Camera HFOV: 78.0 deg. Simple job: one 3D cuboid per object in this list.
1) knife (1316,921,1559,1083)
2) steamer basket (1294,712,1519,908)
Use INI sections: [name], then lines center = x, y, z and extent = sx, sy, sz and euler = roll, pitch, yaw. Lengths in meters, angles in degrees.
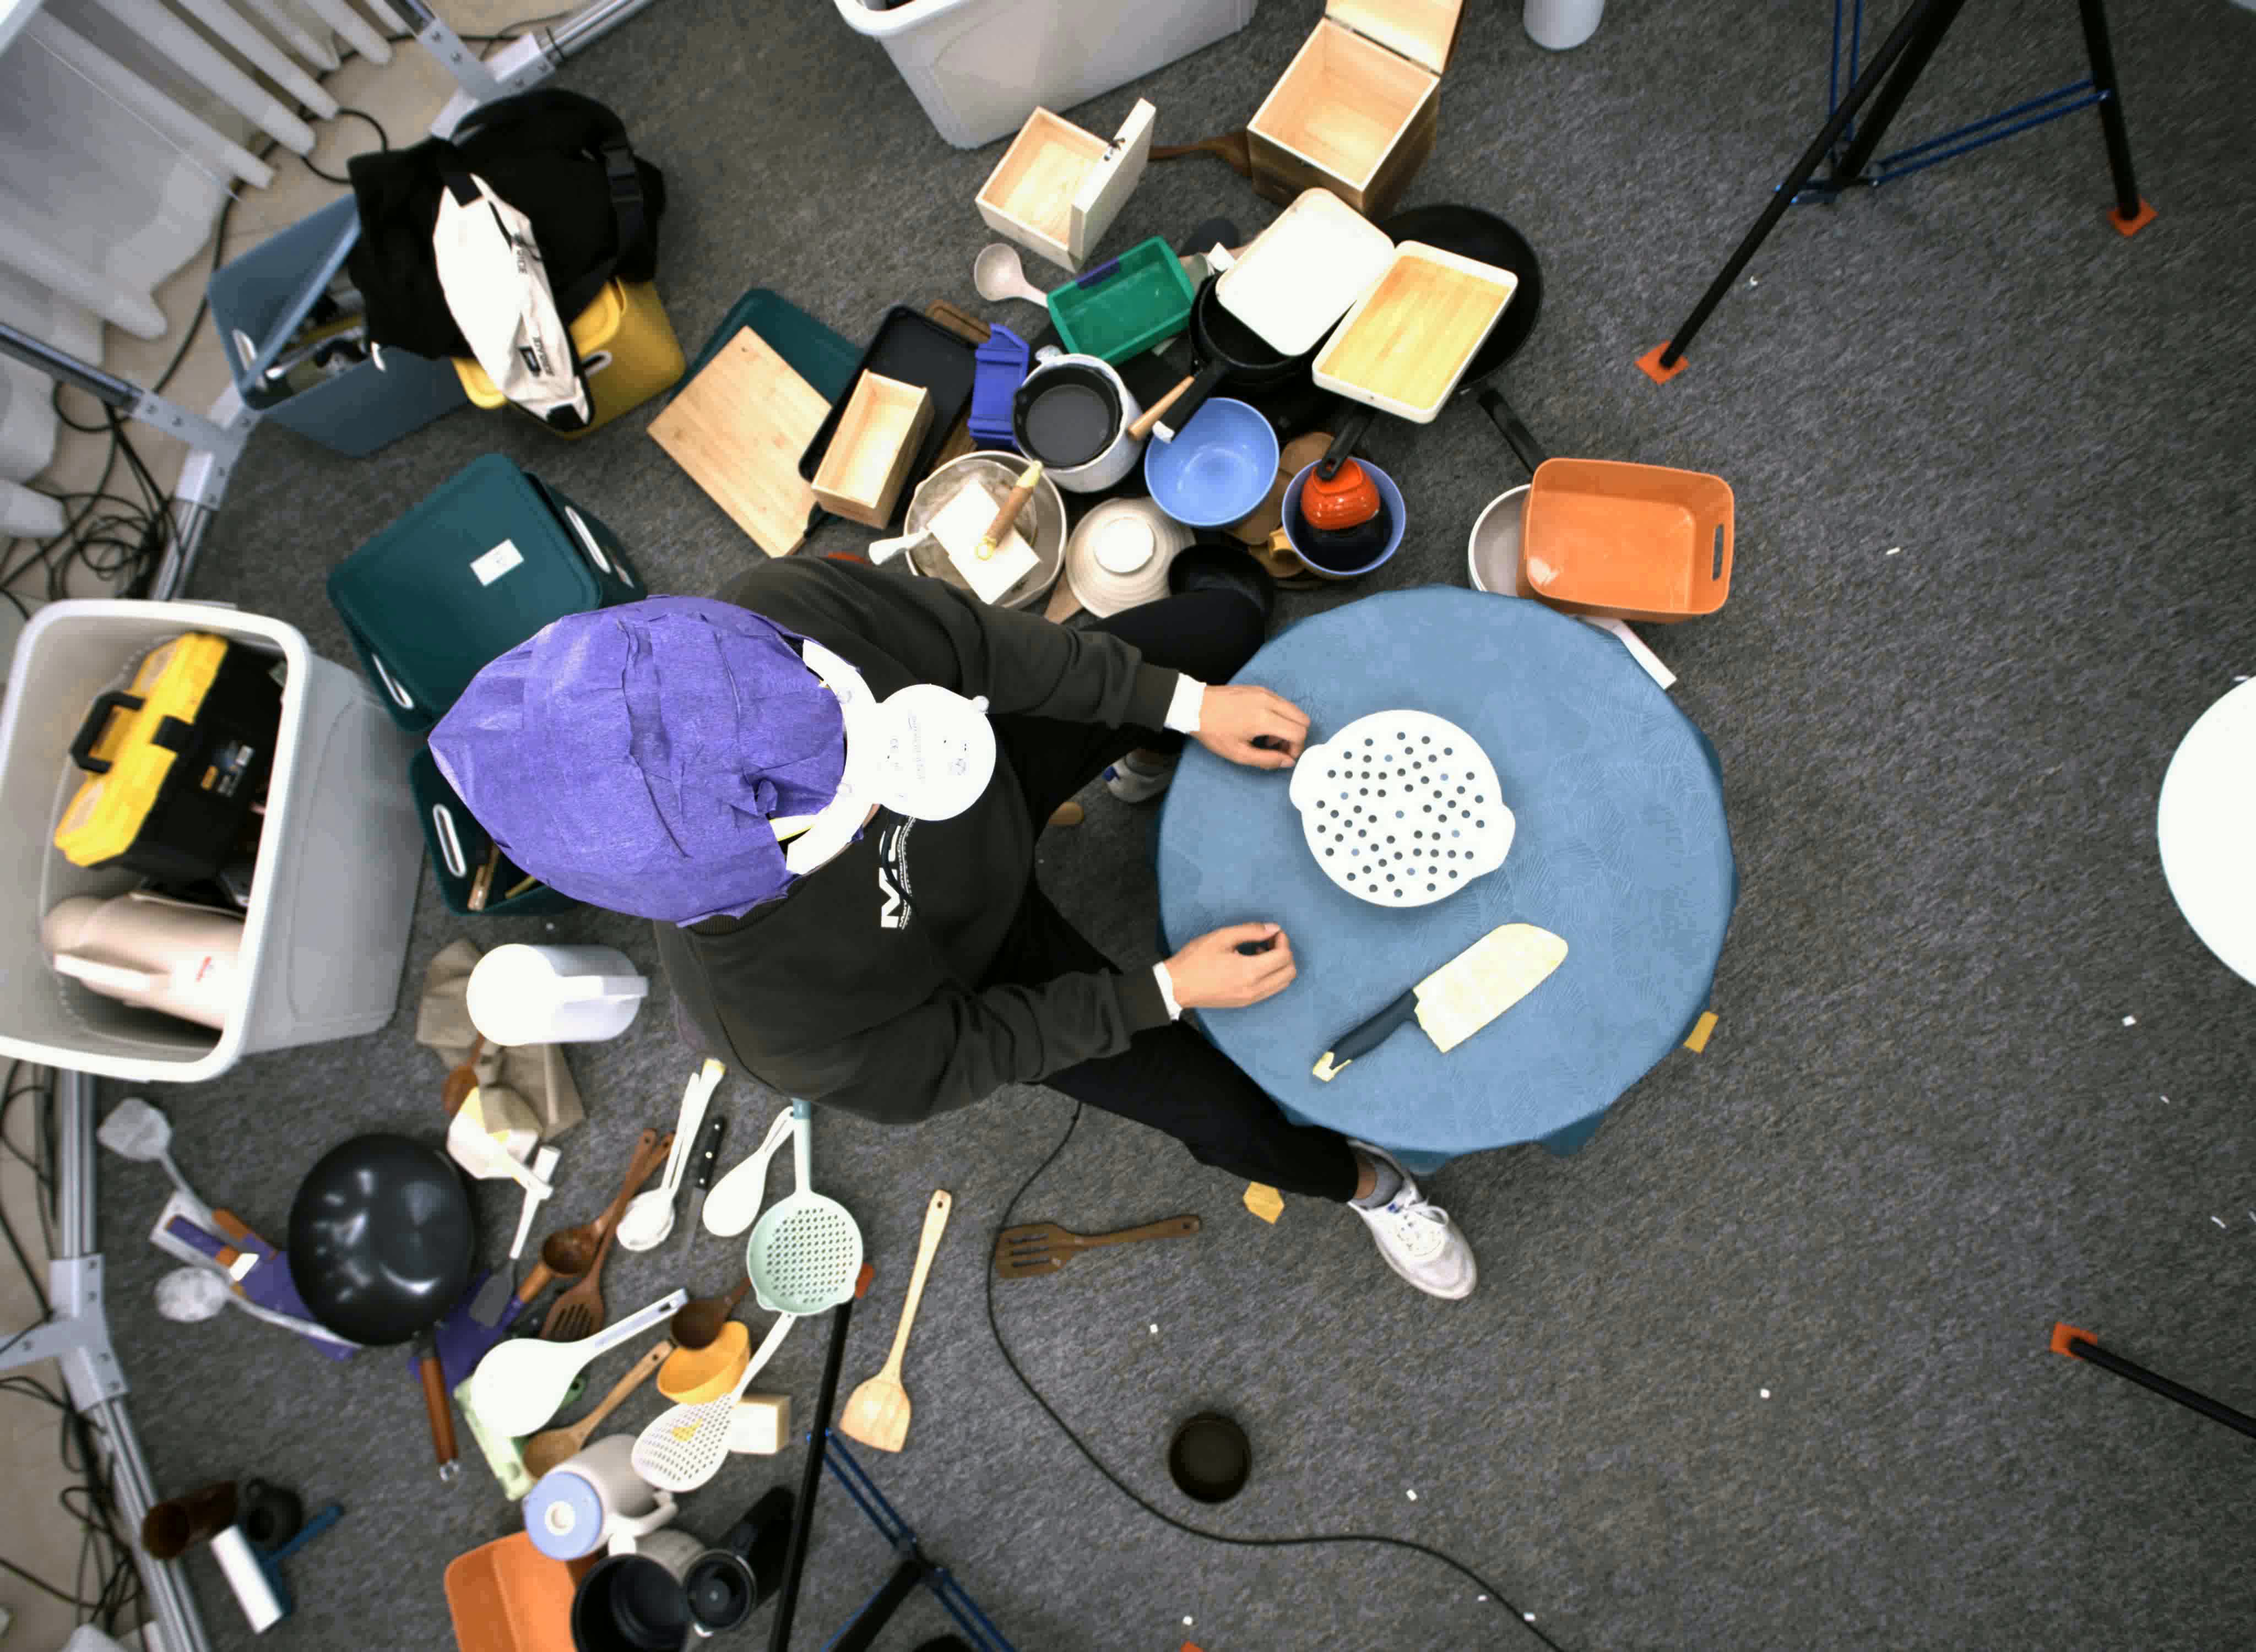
[knife]
center = 0.325, 0.189, 1.436
extent = 0.291, 0.027, 0.080
euler = -34, 79, 6
[steamer basket]
center = 0.287, -0.016, 1.428
extent = 0.230, 0.069, 0.201
euler = 20, 90, 12
